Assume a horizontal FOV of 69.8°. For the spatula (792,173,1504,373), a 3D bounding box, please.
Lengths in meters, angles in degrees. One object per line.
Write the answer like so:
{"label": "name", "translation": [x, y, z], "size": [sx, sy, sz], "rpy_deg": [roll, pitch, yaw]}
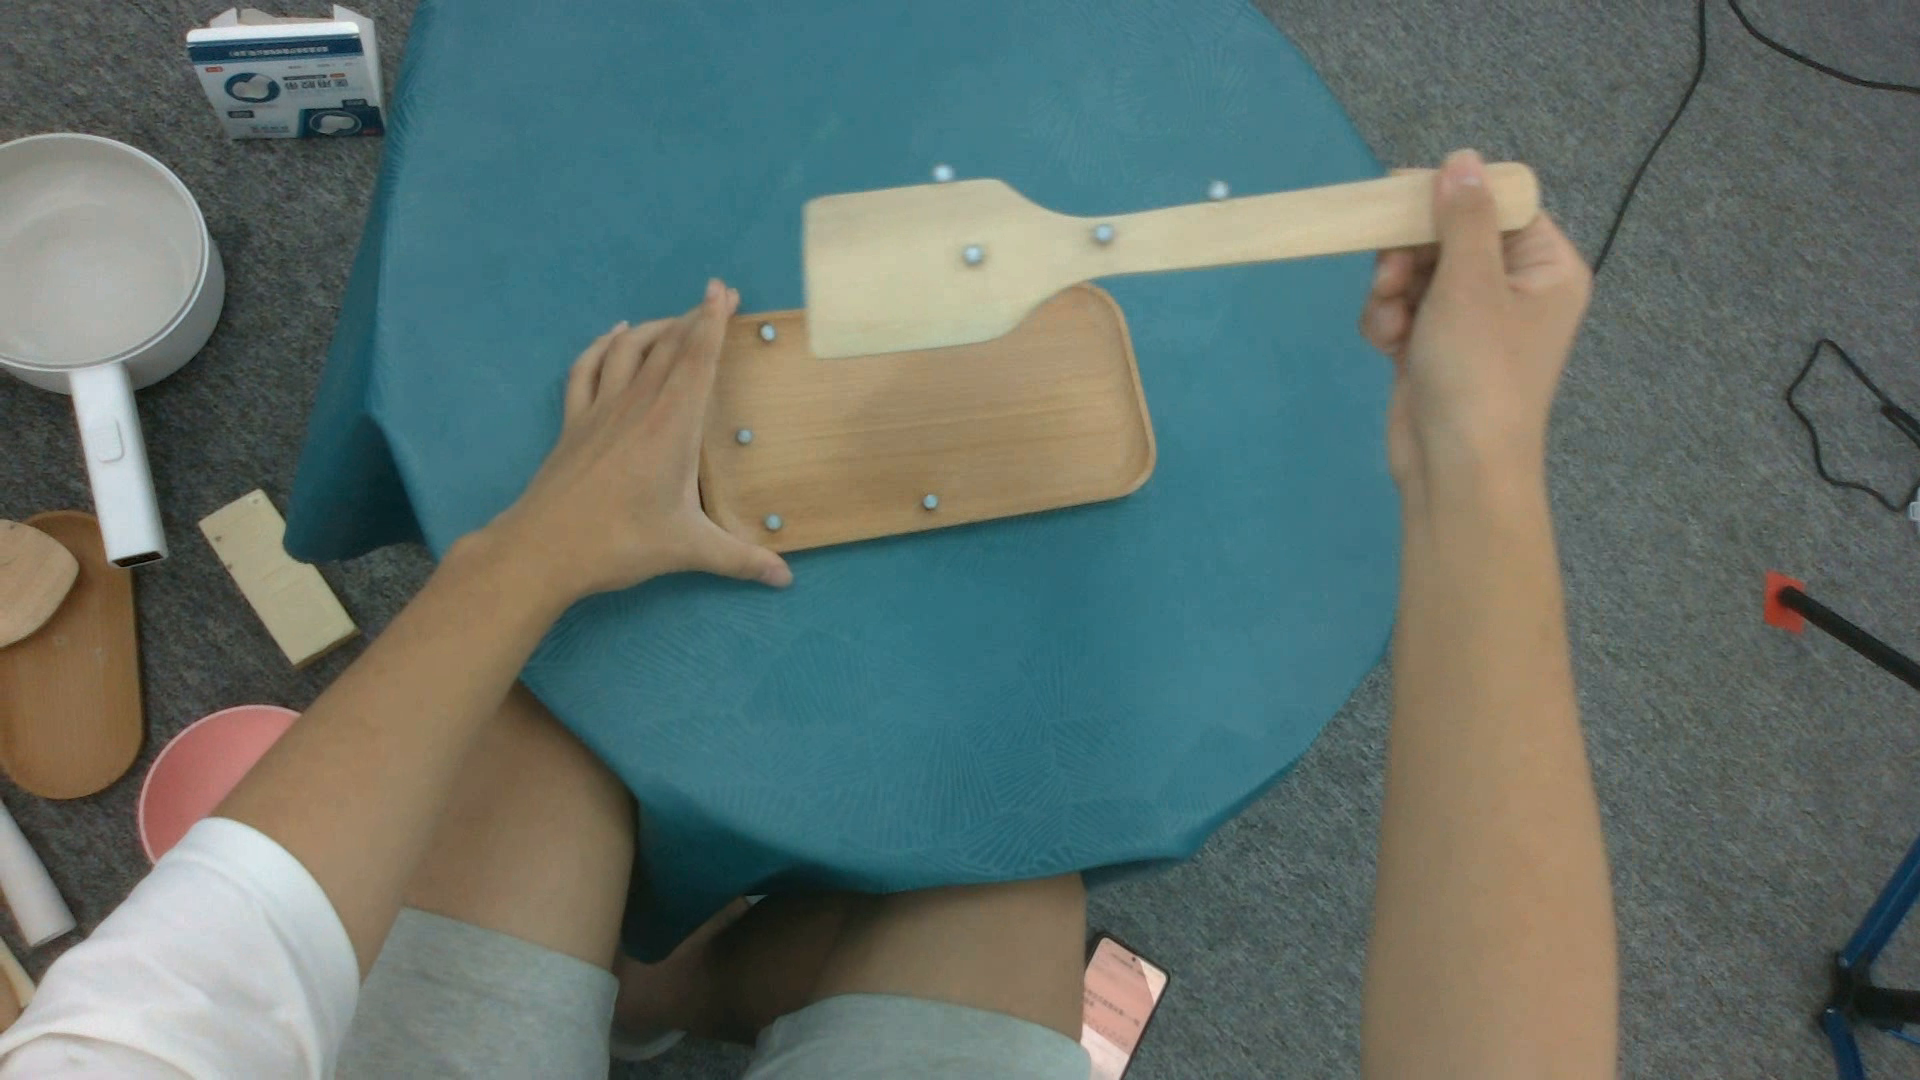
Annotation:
{"label": "spatula", "translation": [0.073, -0.121, 0.572], "size": [0.293, 0.010, 0.072], "rpy_deg": [-6, 87, 9]}

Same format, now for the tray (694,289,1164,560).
{"label": "tray", "translation": [-0.013, -0.066, 0.749], "size": [0.251, 0.023, 0.130], "rpy_deg": [-8, 81, -17]}
